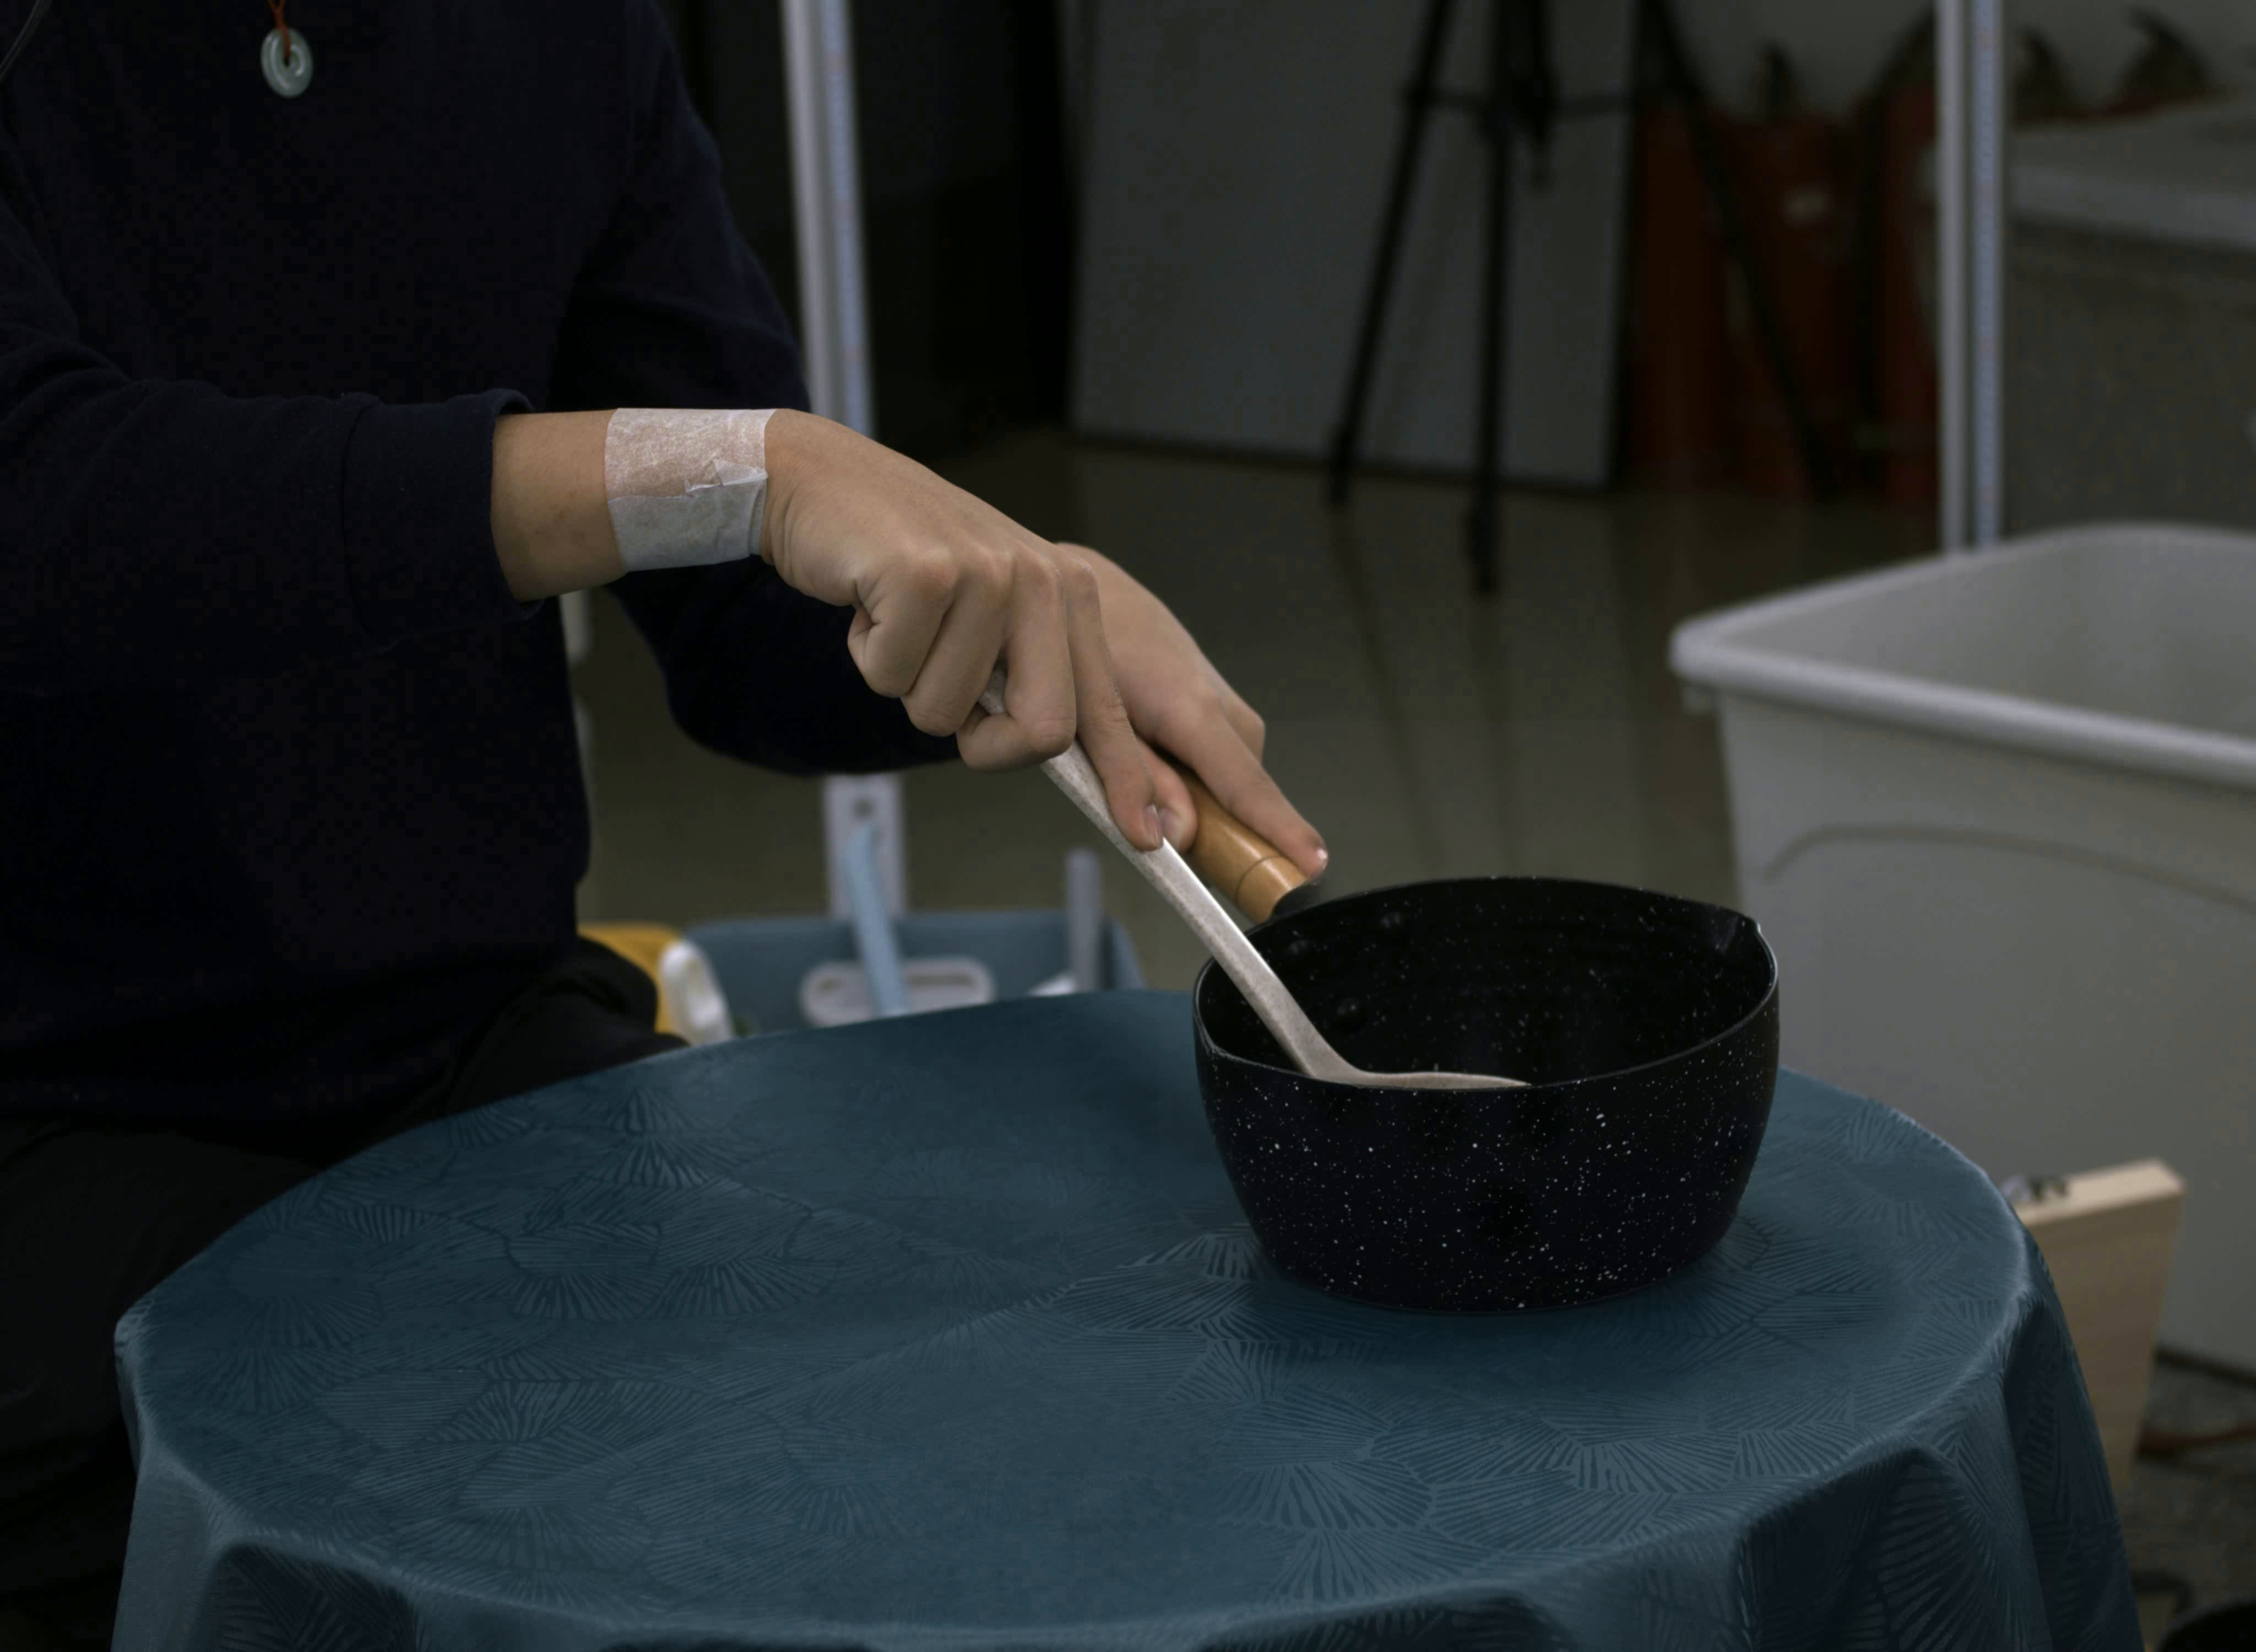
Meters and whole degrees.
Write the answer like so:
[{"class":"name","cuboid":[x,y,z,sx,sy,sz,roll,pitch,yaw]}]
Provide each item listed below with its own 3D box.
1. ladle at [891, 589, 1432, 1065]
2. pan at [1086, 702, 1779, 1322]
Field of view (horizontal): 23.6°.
[{"class":"ladle","cuboid":[0.038,0.019,1.650,0.070,0.274,0.089,-32,15,30]},{"class":"pan","cuboid":[0.074,0.054,1.749,0.203,0.109,0.346,-15,22,-25]}]
